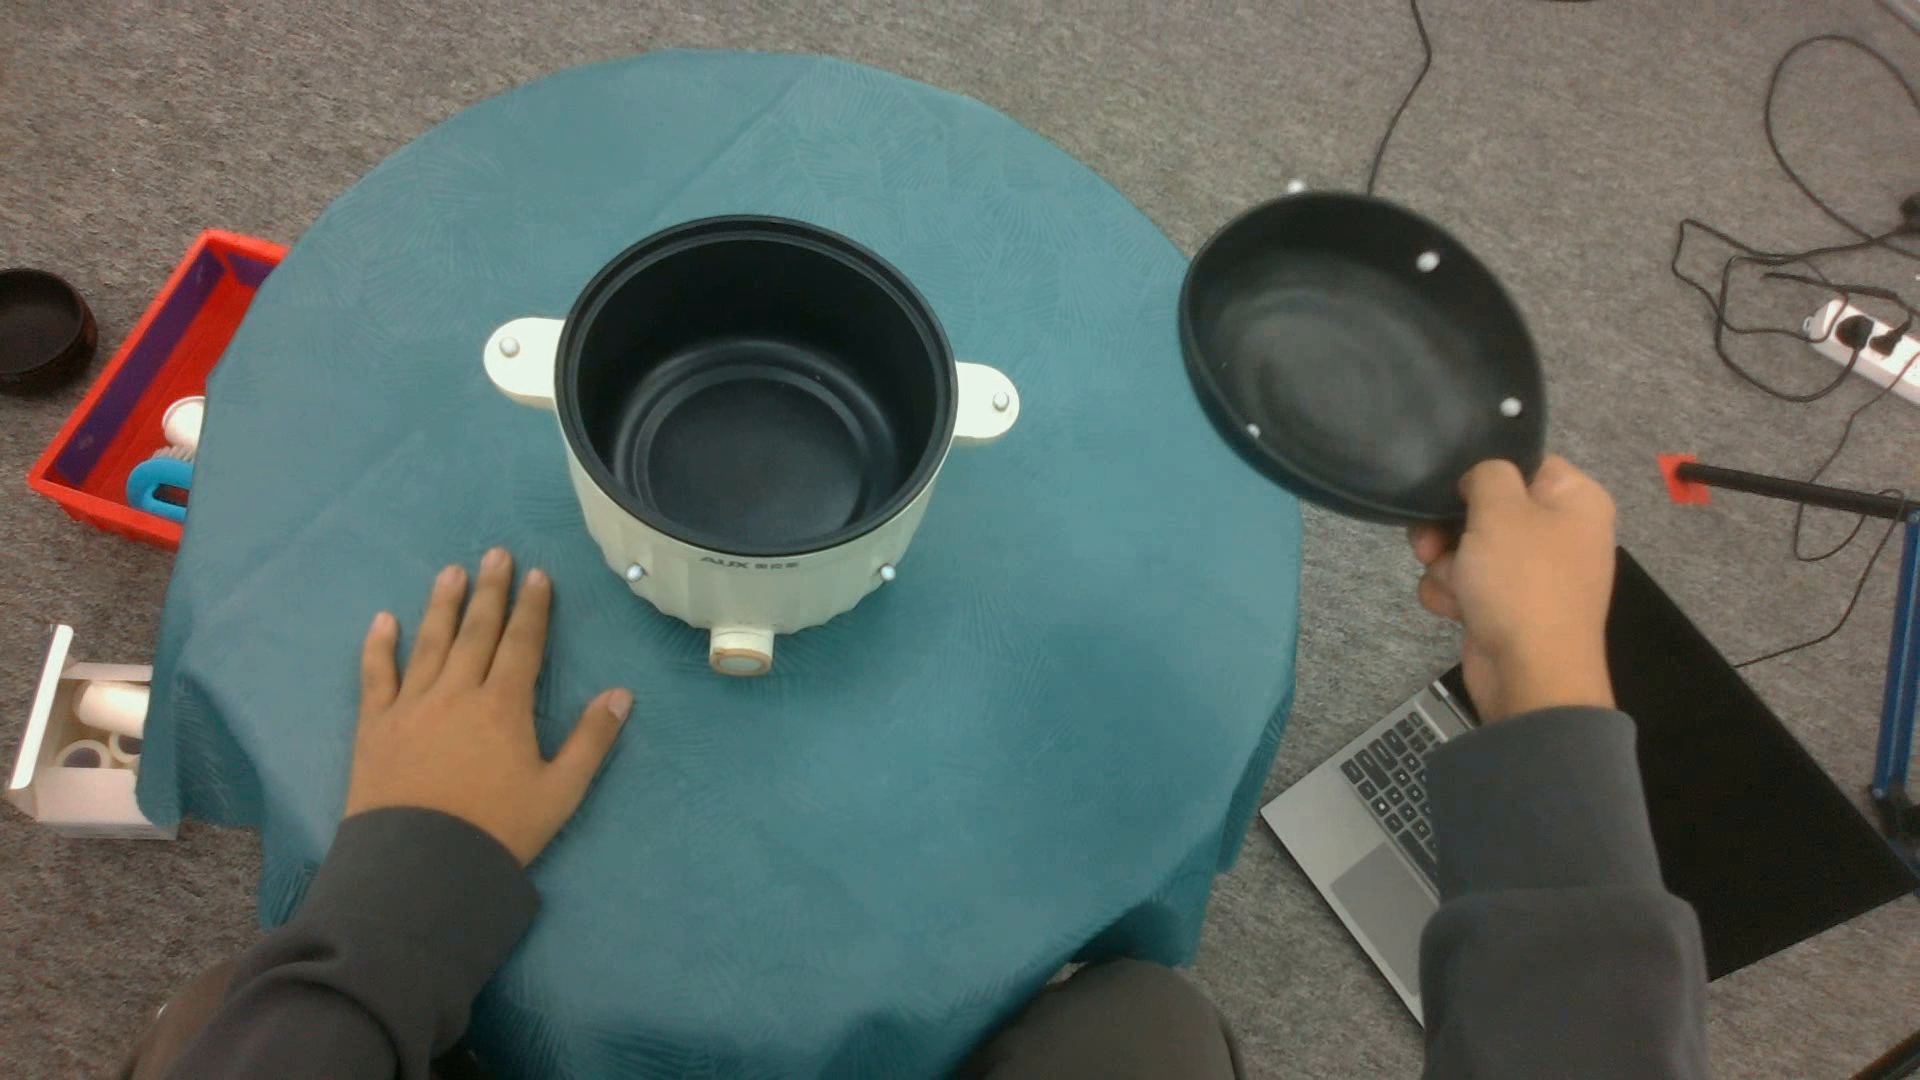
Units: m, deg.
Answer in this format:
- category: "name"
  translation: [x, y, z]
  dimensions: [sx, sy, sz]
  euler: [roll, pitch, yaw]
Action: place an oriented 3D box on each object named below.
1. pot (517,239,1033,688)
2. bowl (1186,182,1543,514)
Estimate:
- category: "pot"
  translation: [-0.090, -0.034, 0.698]
  dimensions: [0.240, 0.142, 0.191]
  euler: [0, 60, -7]
- category: "bowl"
  translation: [0.170, -0.076, 0.598]
  dimensions: [0.170, 0.066, 0.138]
  euler: [25, 72, -5]
